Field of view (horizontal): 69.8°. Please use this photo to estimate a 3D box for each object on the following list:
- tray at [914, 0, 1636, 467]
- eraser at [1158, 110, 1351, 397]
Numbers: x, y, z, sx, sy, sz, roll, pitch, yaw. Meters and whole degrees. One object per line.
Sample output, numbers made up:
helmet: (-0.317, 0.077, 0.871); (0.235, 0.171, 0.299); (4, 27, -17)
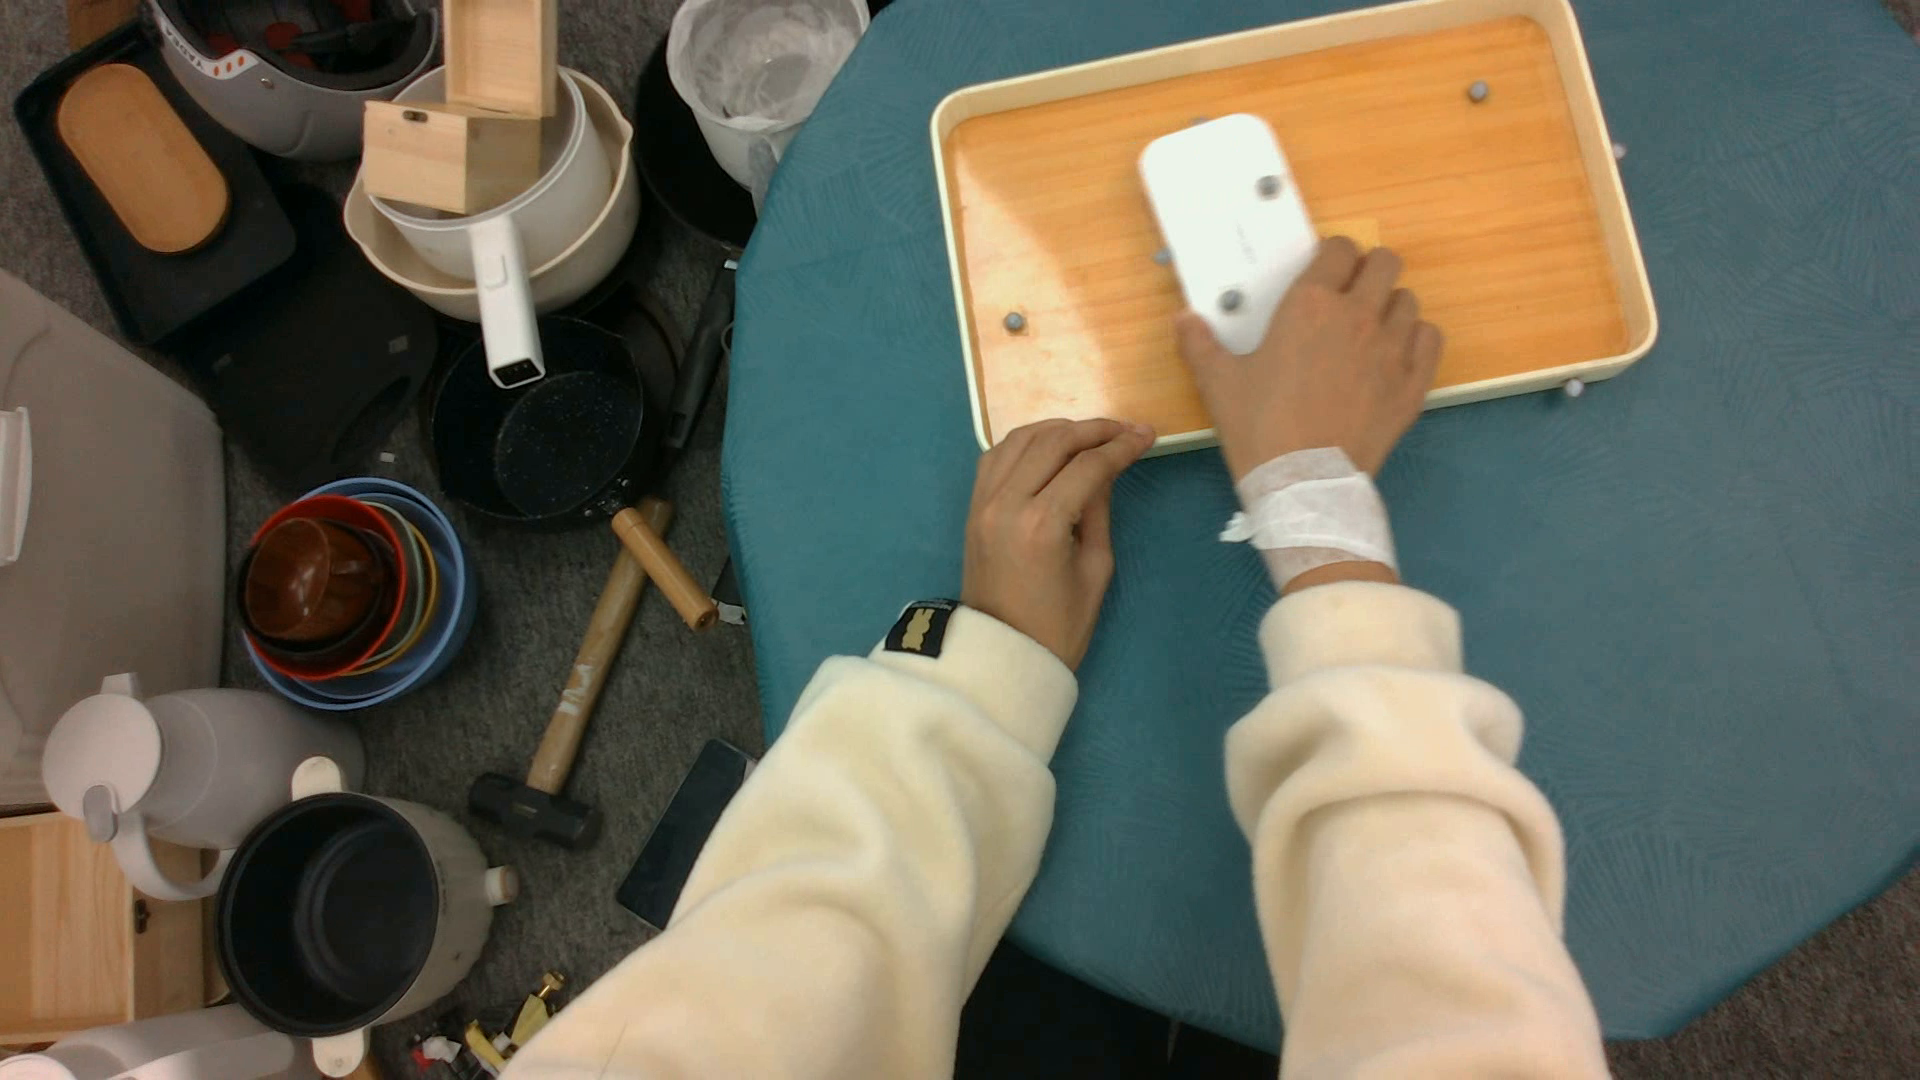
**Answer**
tray: (0.138, -0.148, 0.640); (0.300, 0.027, 0.192); (-9, 76, 3)
eraser: (0.131, -0.131, 0.627); (0.063, 0.034, 0.131); (-13, 77, 2)
